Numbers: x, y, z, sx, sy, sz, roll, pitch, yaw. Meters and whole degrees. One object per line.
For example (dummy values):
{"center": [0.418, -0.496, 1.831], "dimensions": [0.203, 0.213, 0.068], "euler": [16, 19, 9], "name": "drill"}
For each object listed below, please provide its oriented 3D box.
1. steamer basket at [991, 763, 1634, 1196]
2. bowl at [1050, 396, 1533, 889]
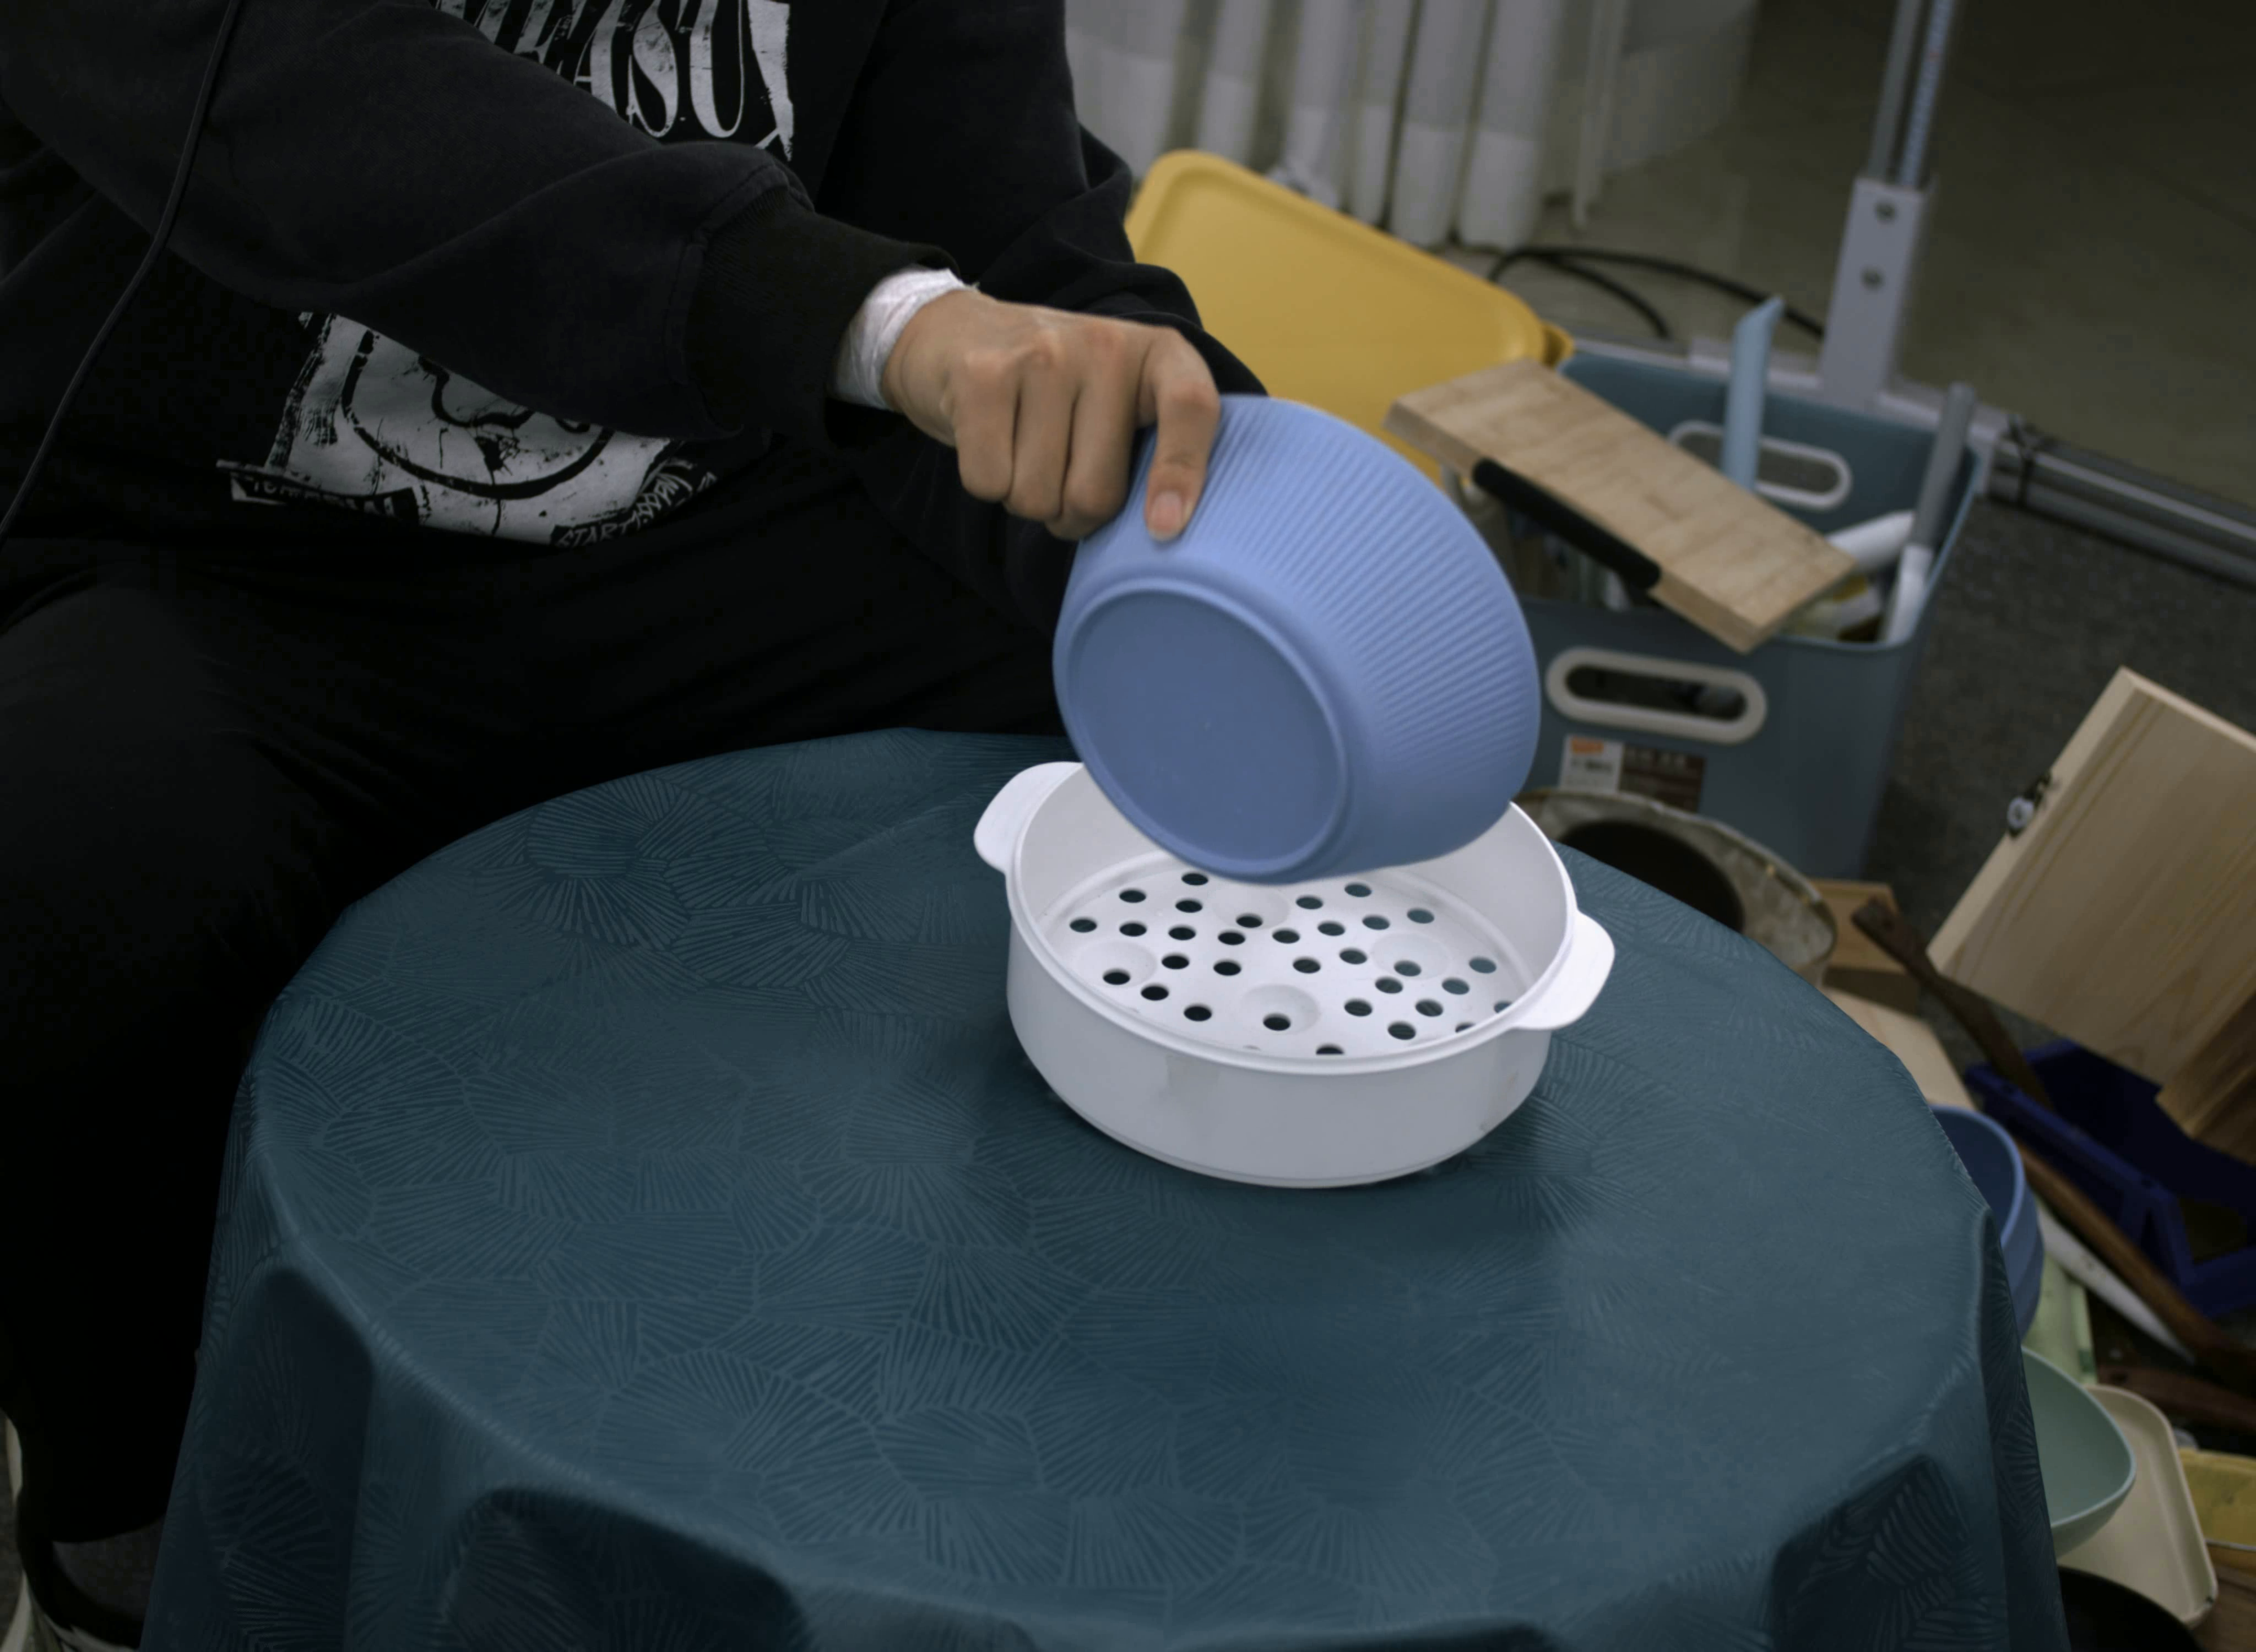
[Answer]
{"center": [0.061, 0.047, 1.869], "dimensions": [0.231, 0.069, 0.202], "euler": [18, 37, 14], "name": "steamer basket"}
{"center": [0.040, -0.046, 1.727], "dimensions": [0.177, 0.175, 0.070], "euler": [23, 42, 28], "name": "bowl"}
